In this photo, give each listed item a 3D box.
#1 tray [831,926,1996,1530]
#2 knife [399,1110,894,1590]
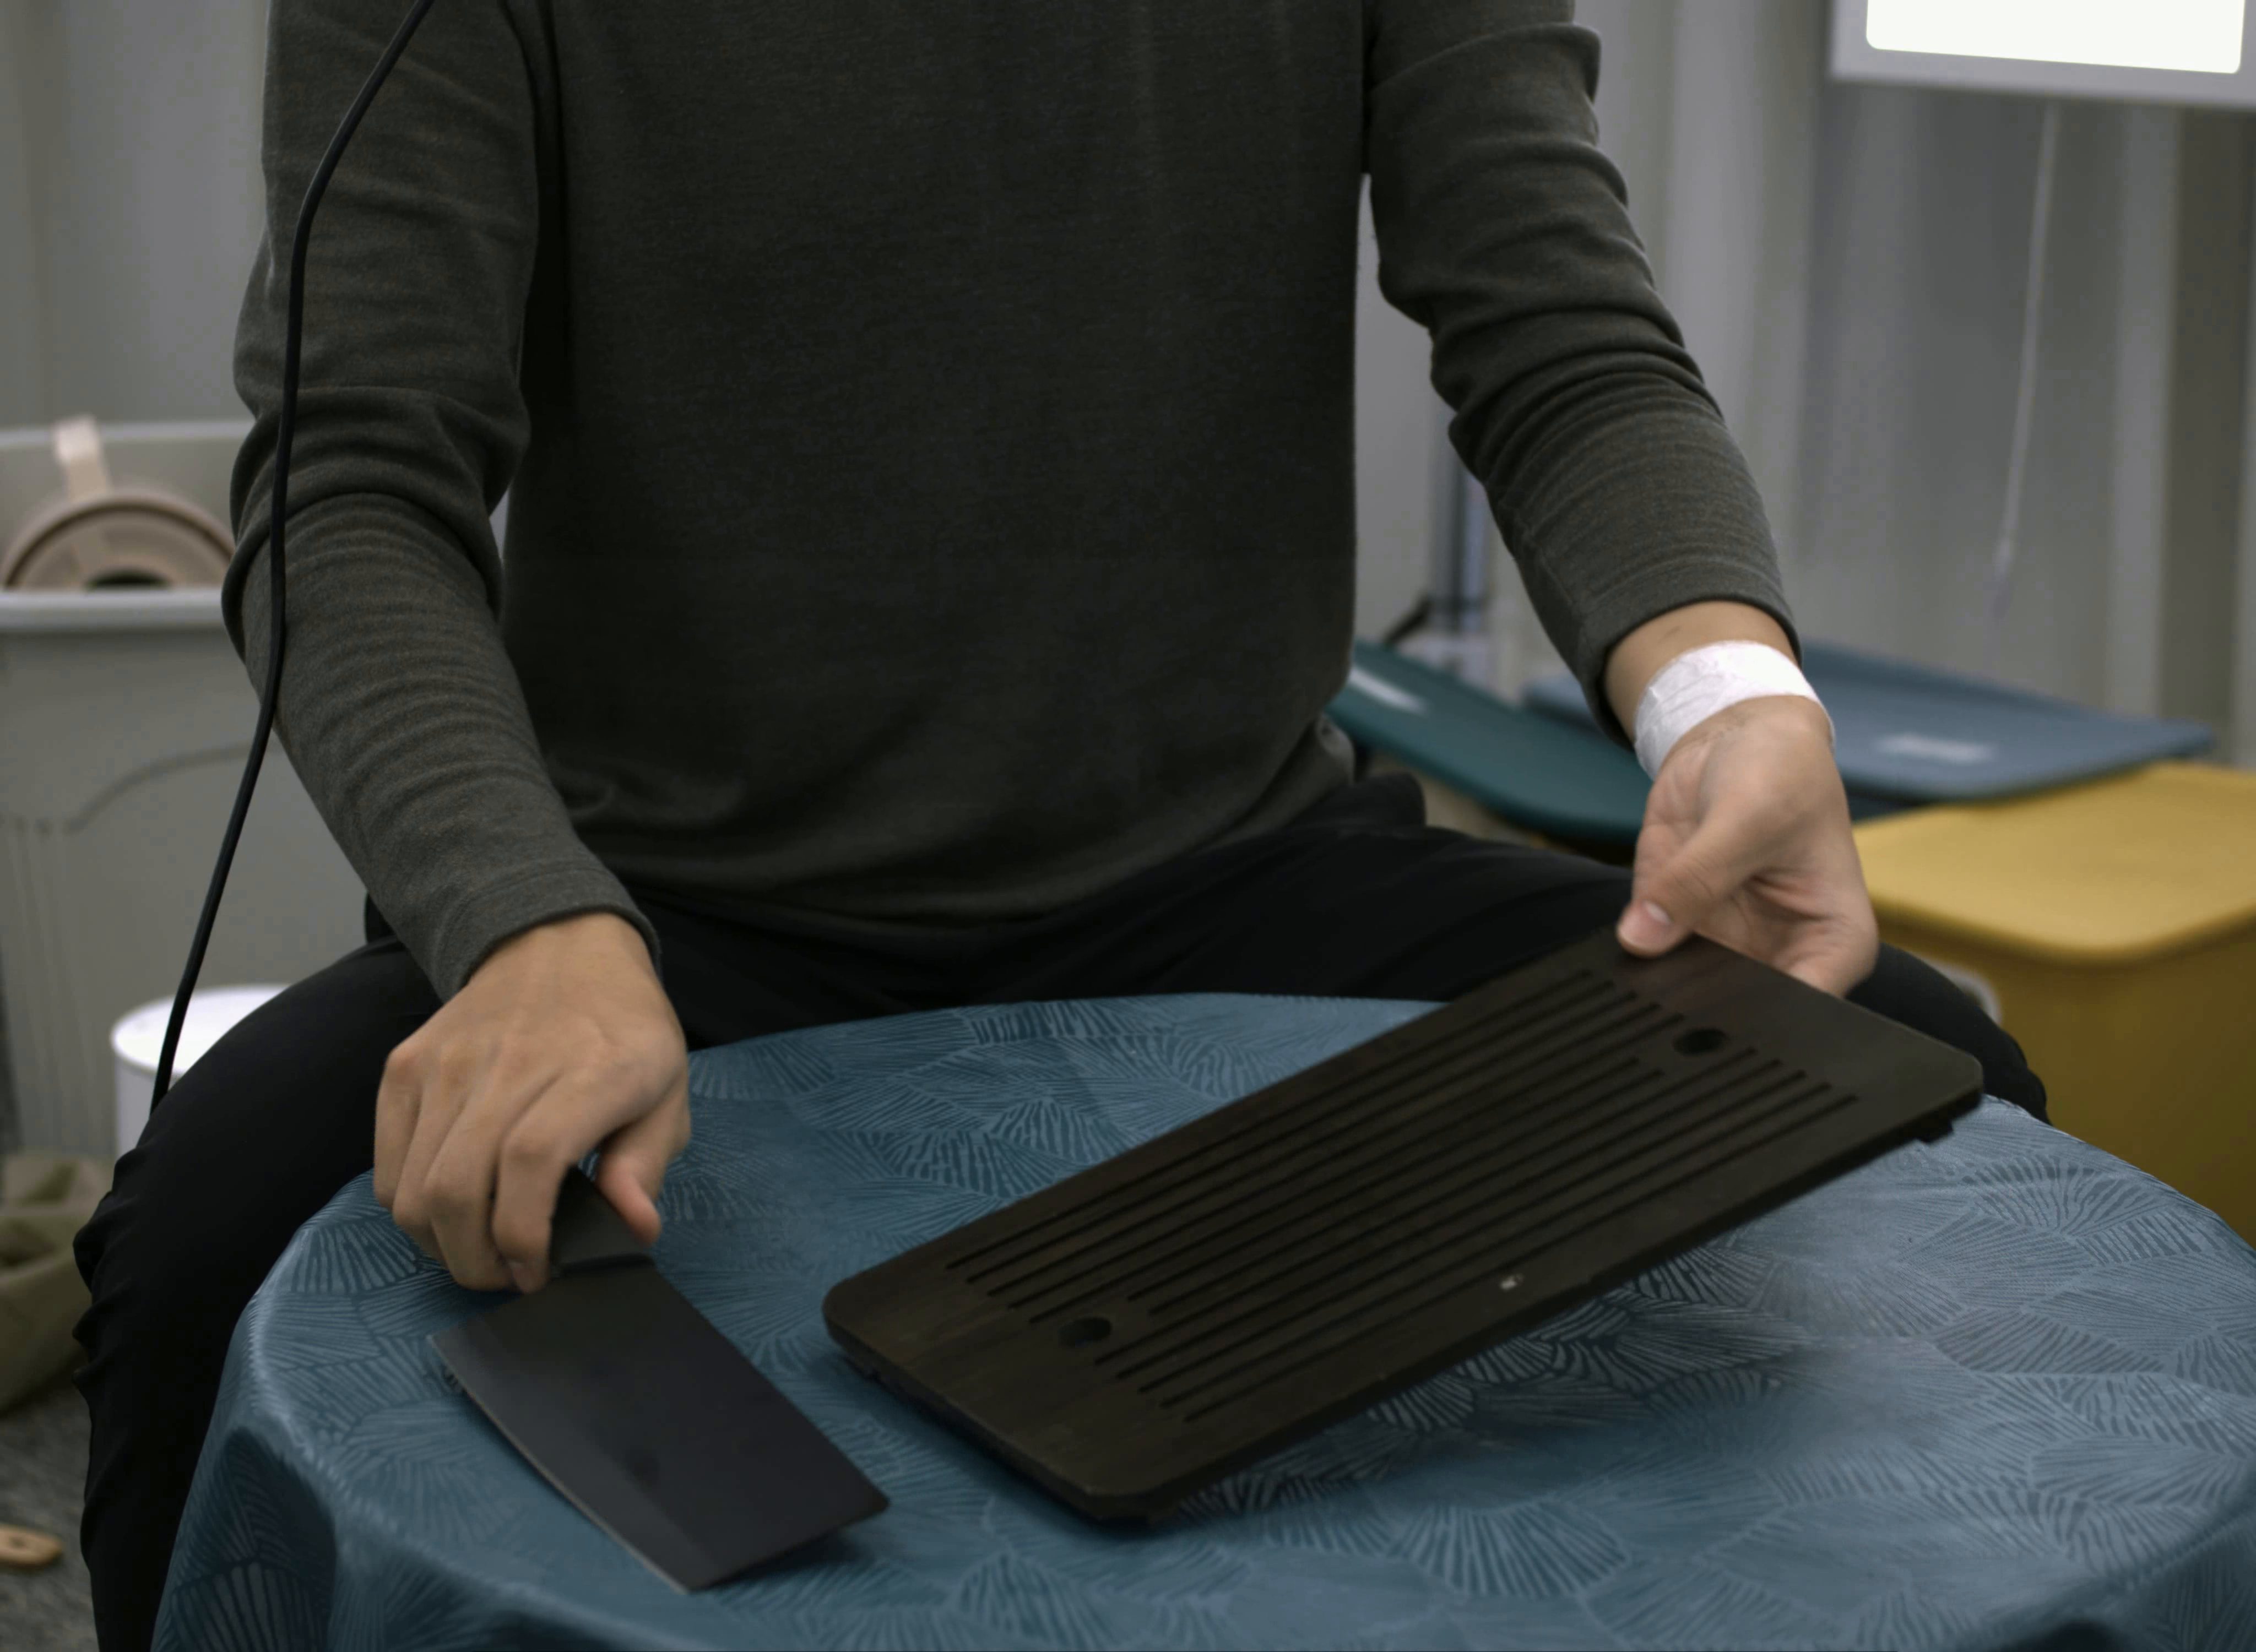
[{"bbox_3d":[0.081,0.109,1.484,0.306,0.019,0.168,-22,25,-25],"label":"tray"},{"bbox_3d":[-0.150,0.140,1.459,0.081,0.021,0.298,-18,25,-17],"label":"knife"}]
